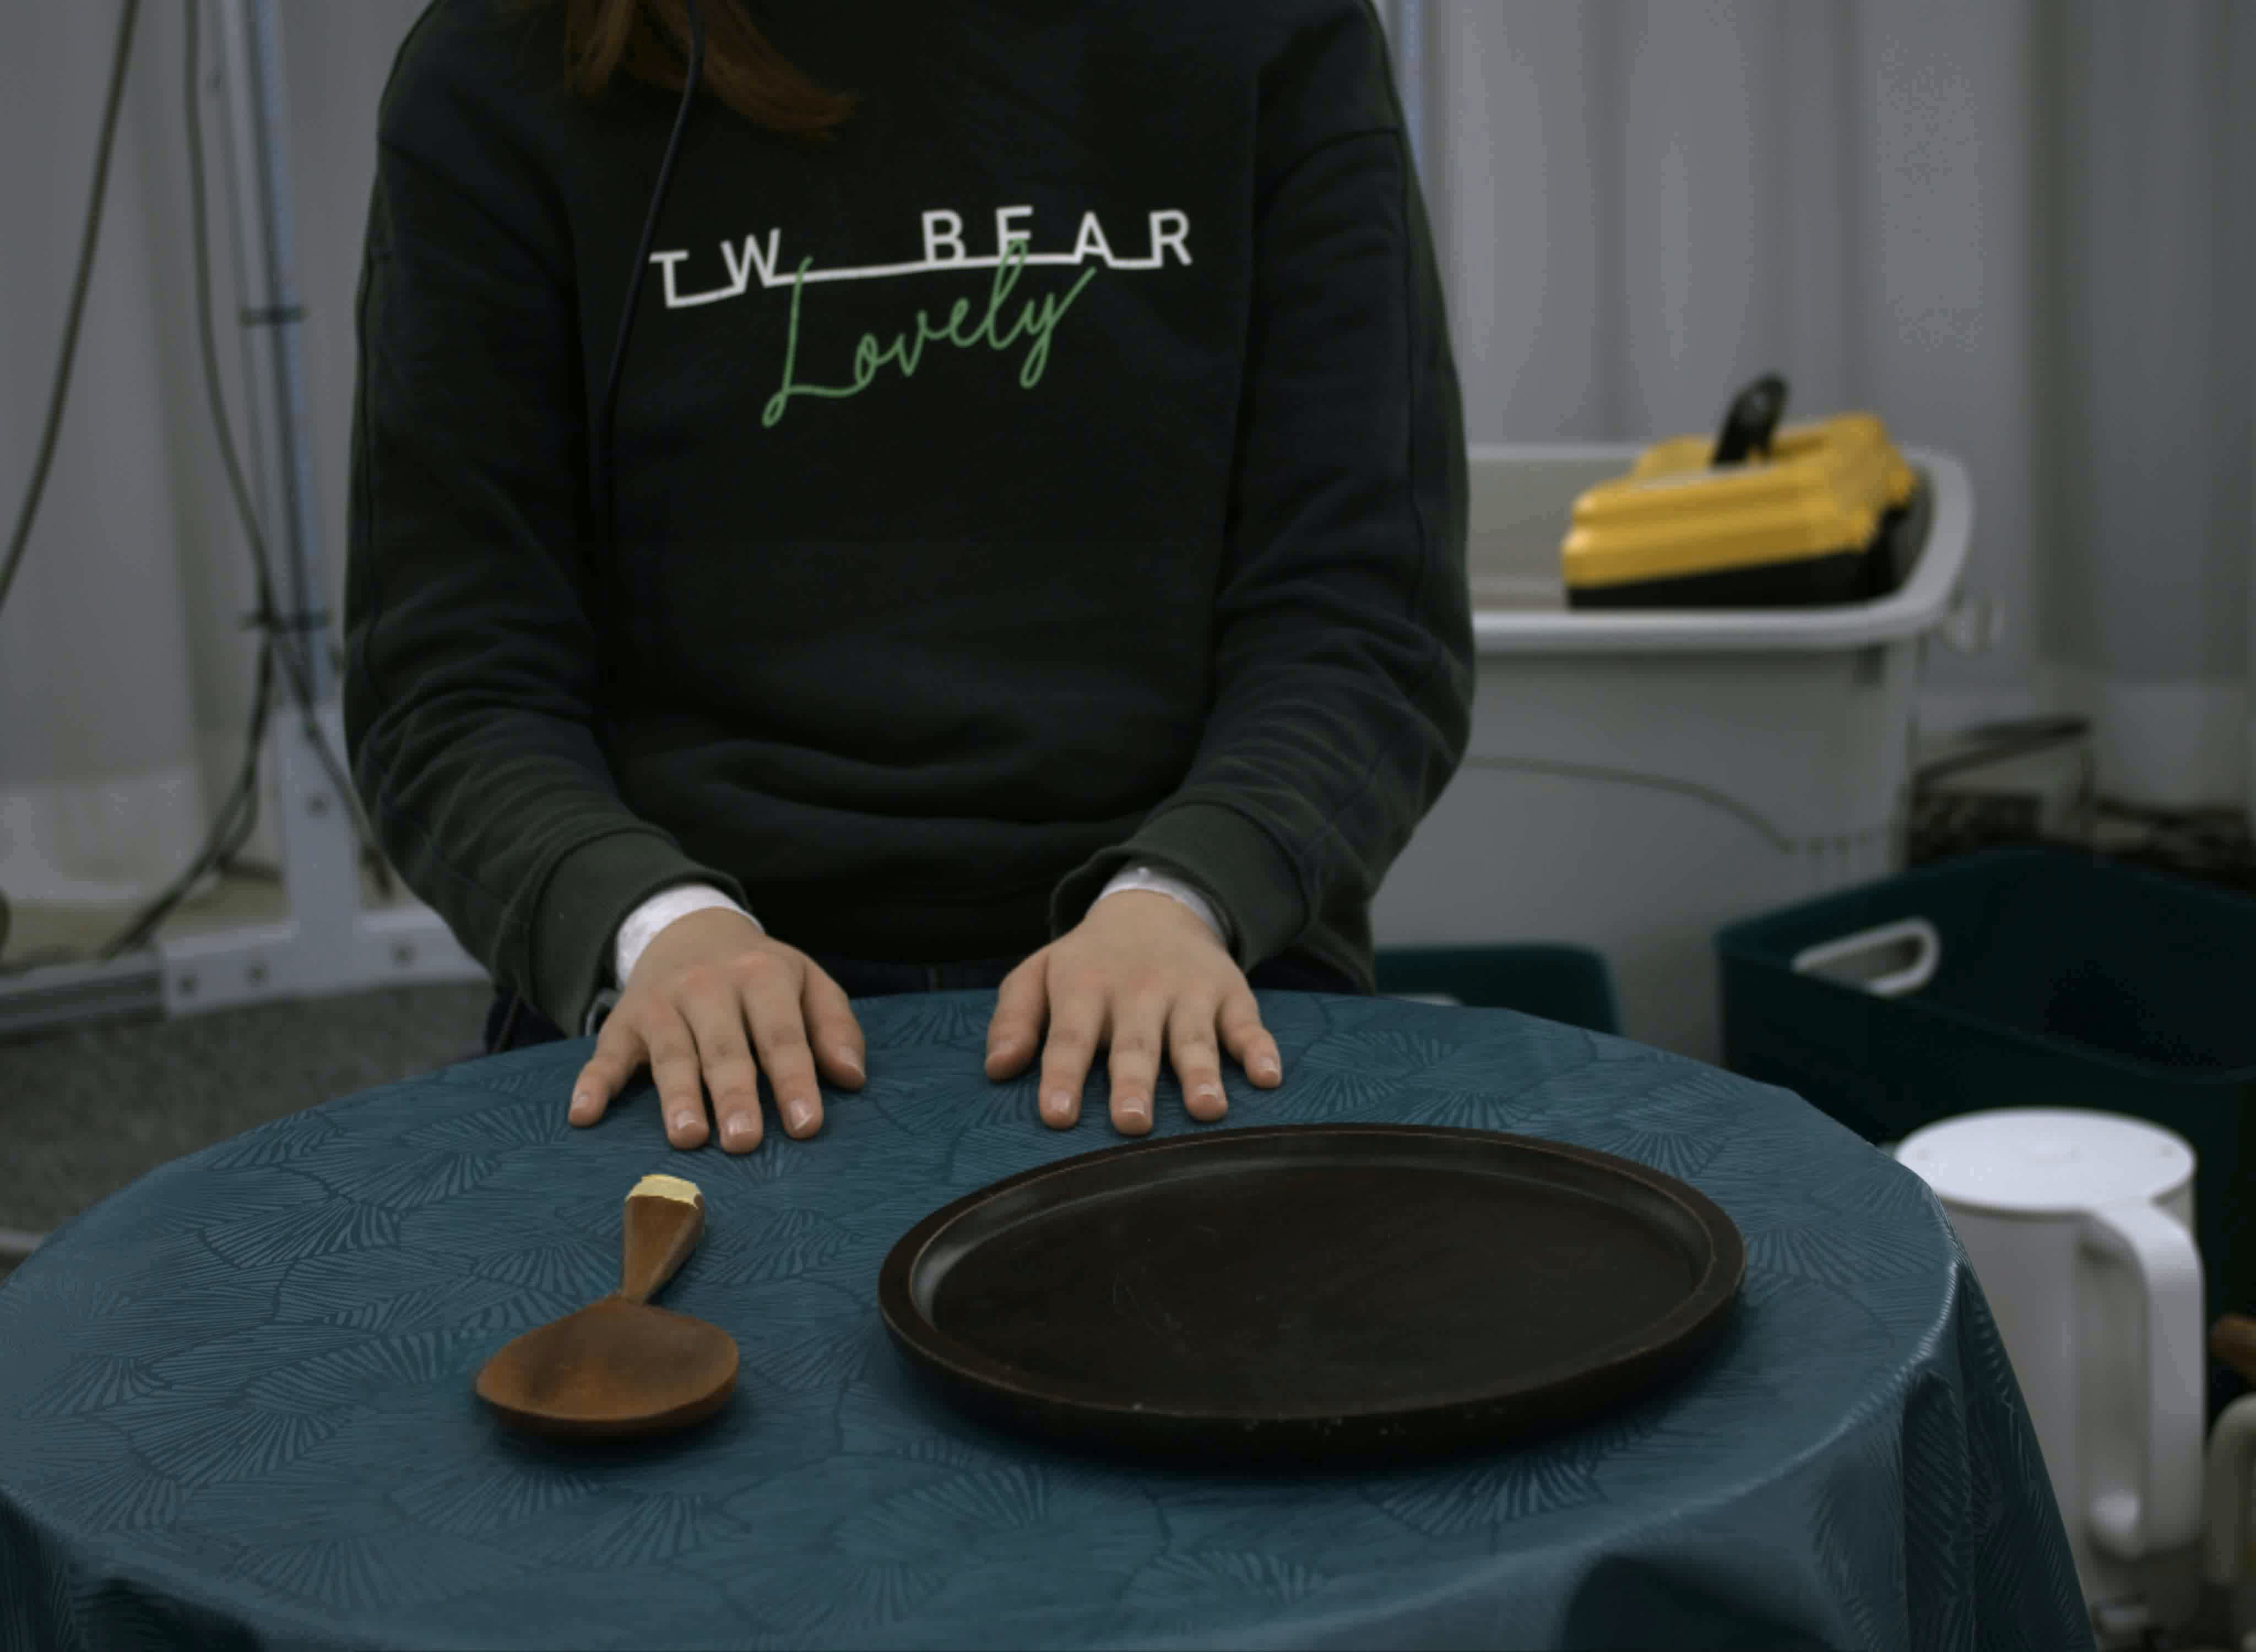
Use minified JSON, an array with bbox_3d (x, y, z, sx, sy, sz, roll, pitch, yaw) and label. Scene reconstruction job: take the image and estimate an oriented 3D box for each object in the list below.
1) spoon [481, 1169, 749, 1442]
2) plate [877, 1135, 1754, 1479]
[{"bbox_3d":[-0.144,0.142,1.606,0.075,0.017,0.217,-3,15,1],"label":"spoon"},{"bbox_3d":[0.054,0.136,1.583,0.254,0.029,0.256,-2,16,0],"label":"plate"}]
